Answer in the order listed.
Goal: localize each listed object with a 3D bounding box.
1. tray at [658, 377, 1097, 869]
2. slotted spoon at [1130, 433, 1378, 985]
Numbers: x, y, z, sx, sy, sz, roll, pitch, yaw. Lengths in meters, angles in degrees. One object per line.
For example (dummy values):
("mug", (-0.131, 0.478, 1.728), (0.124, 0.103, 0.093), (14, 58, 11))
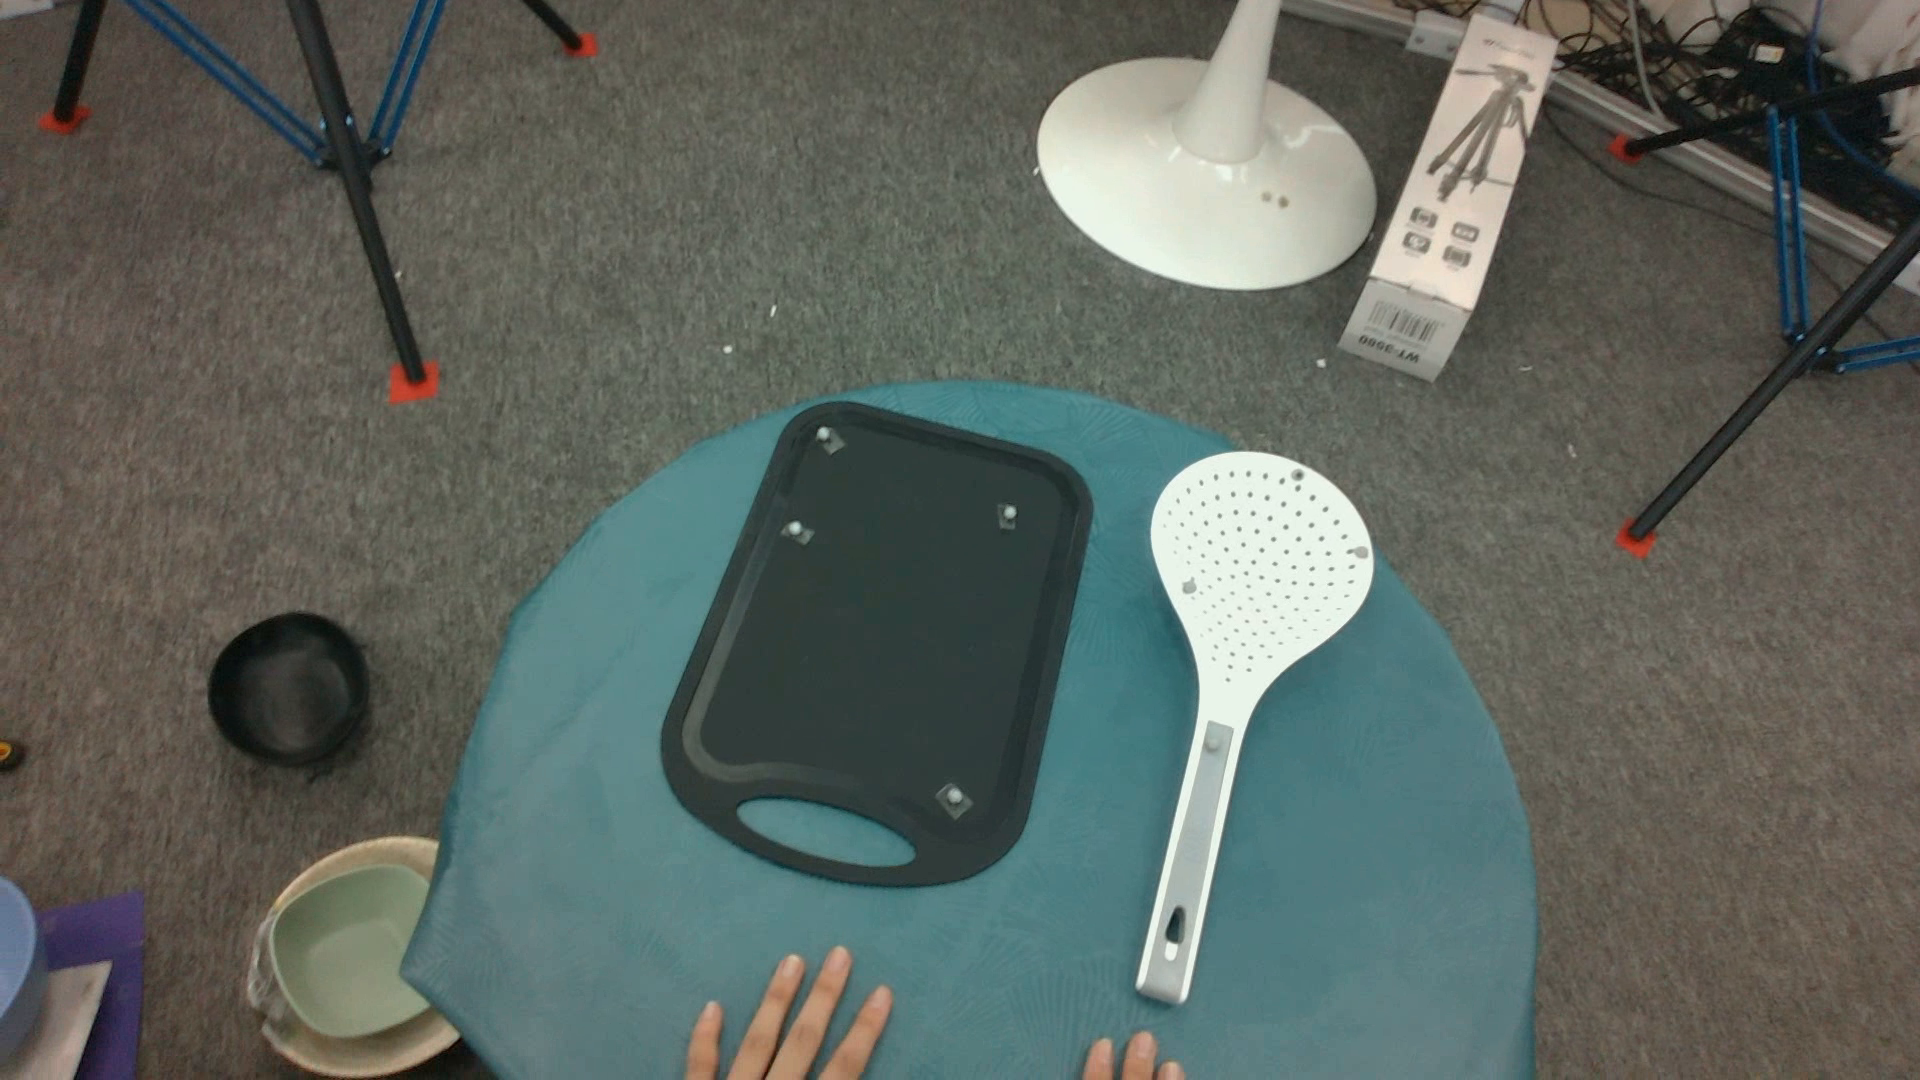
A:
("tray", (-0.041, 0.038, 0.817), (0.211, 0.010, 0.327), (15, 55, 2))
("slotted spoon", (0.154, 0.083, 0.793), (0.136, 0.045, 0.351), (17, 56, 6))
